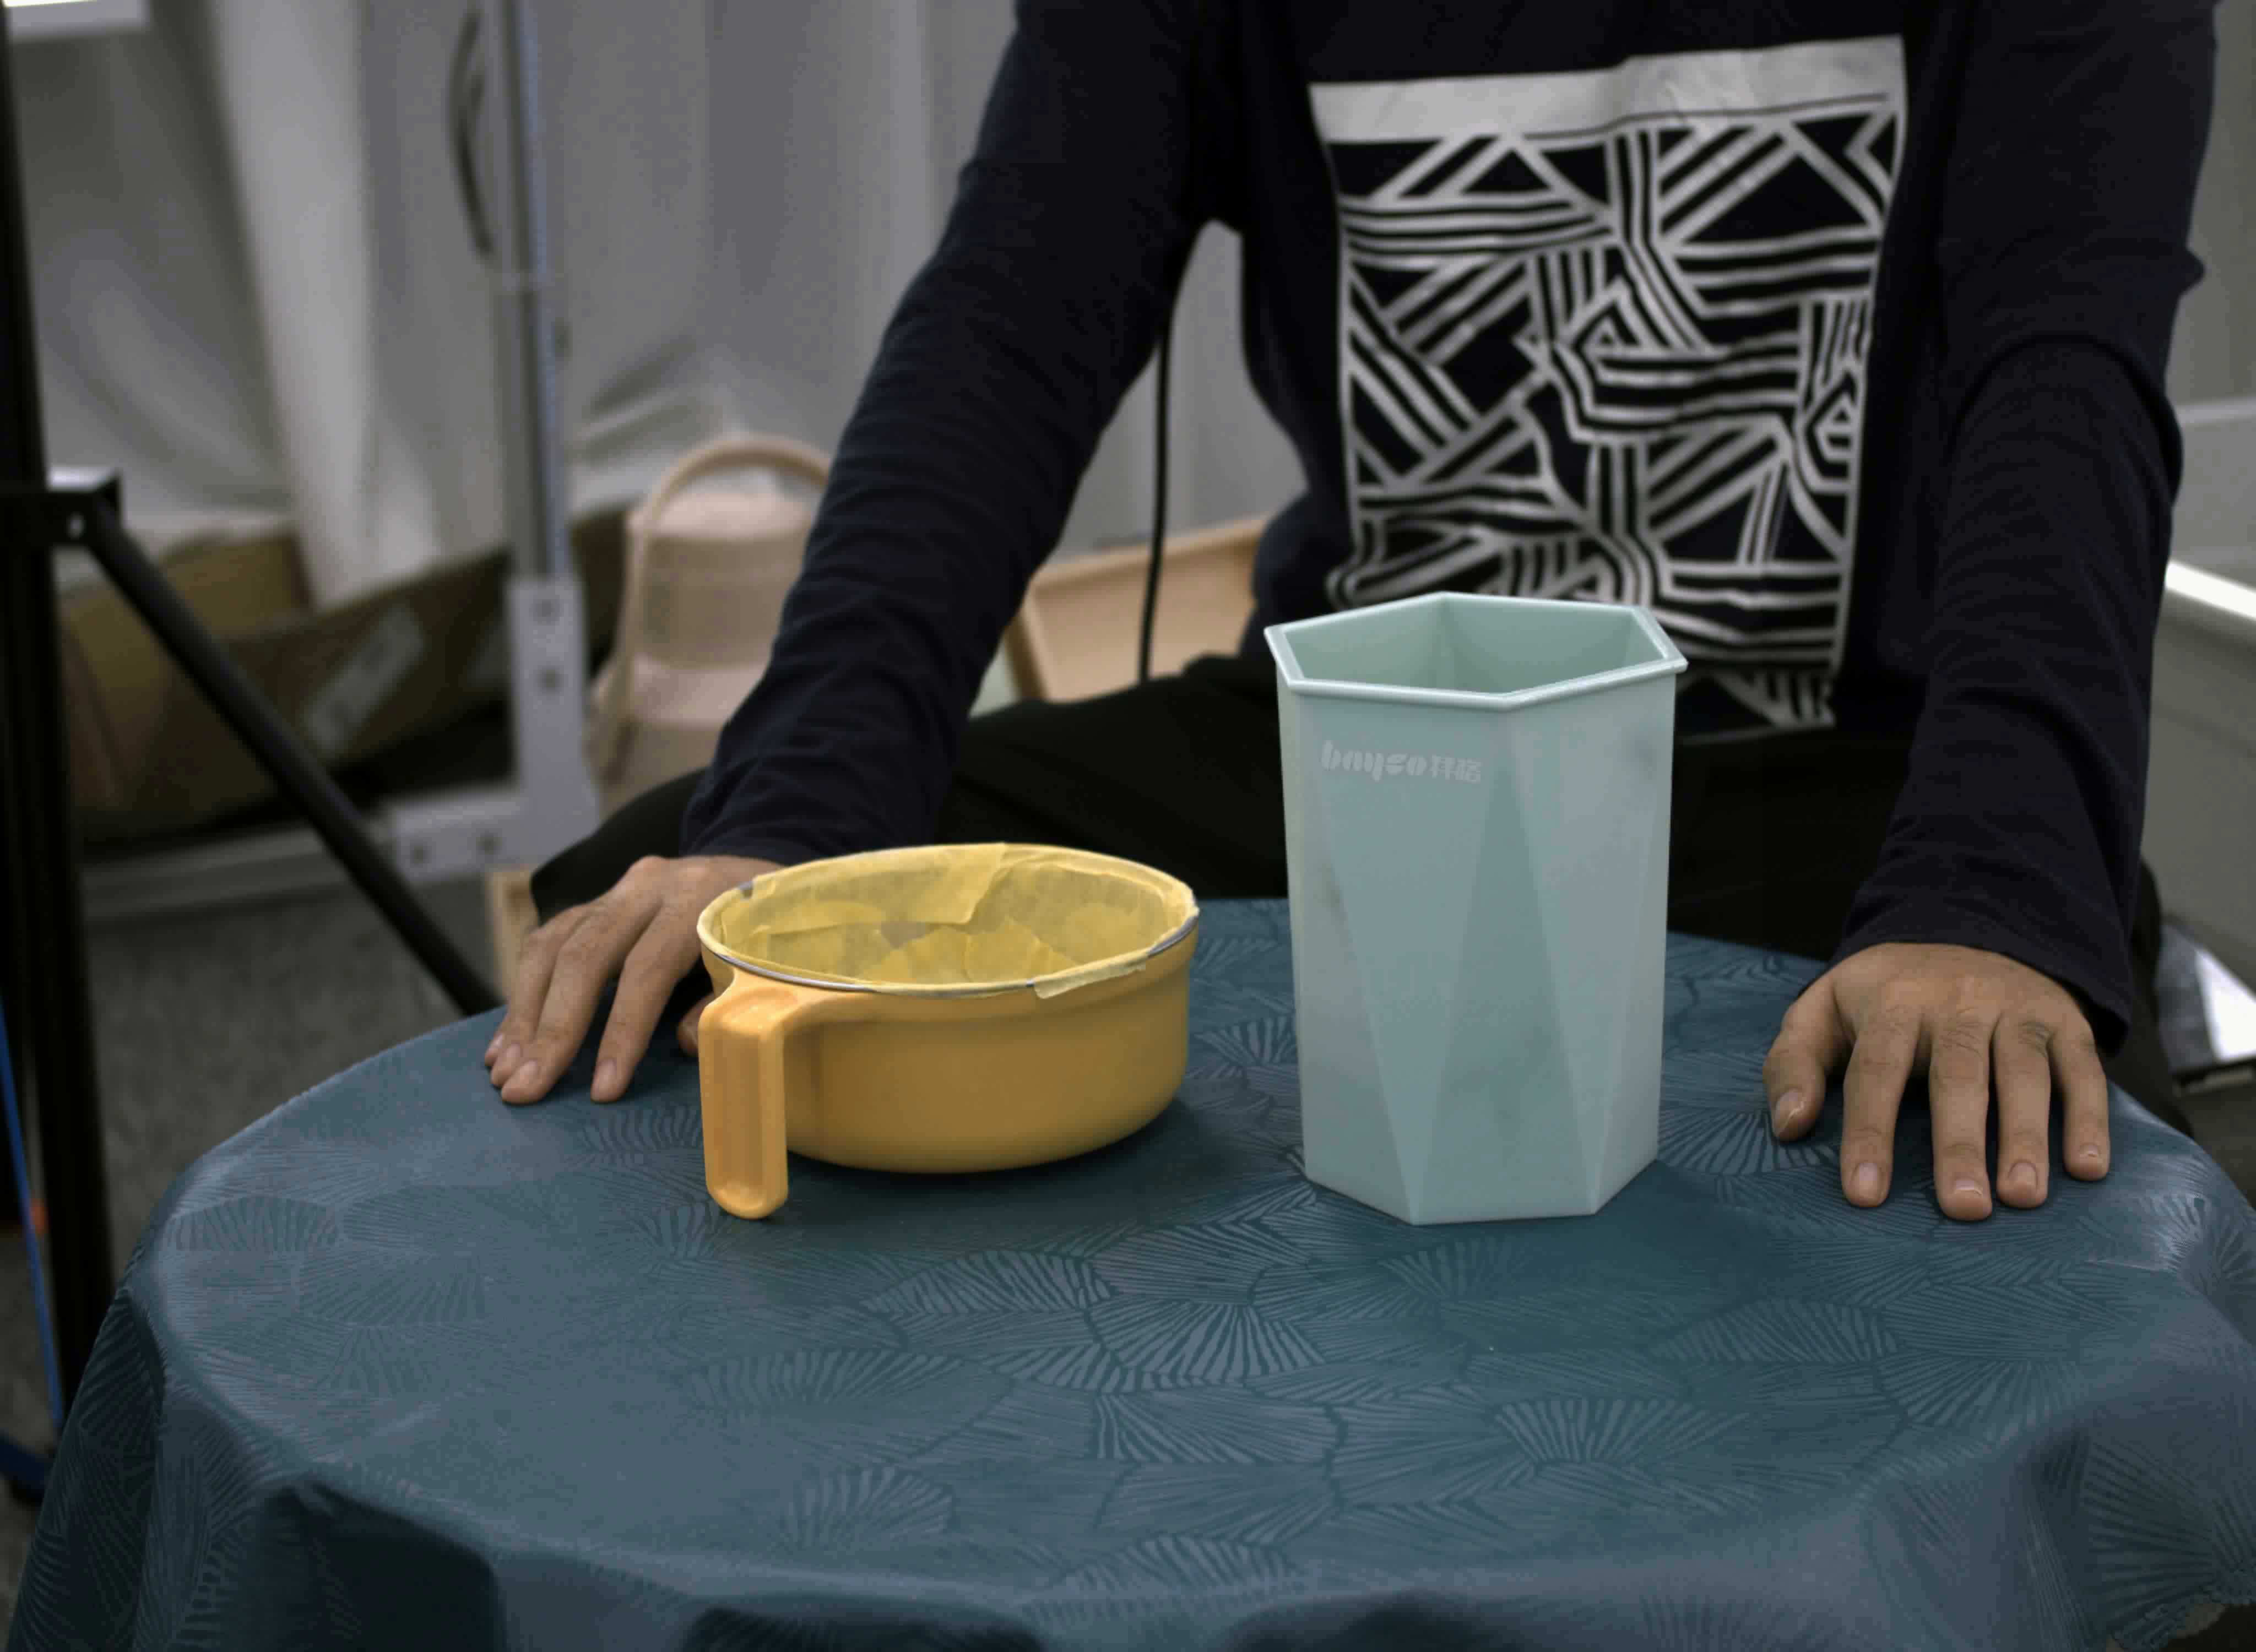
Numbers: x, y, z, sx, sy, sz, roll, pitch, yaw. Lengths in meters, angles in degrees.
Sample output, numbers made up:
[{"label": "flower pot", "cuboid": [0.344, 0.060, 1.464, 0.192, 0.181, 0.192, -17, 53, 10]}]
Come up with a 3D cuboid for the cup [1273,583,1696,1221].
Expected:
[{"label": "cup", "cuboid": [0.103, 0.023, 1.545, 0.133, 0.163, 0.113, 6, 16, 24]}]

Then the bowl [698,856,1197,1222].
[{"label": "bowl", "cuboid": [-0.062, 0.062, 1.613, 0.156, 0.074, 0.175, 8, 16, 33]}]
